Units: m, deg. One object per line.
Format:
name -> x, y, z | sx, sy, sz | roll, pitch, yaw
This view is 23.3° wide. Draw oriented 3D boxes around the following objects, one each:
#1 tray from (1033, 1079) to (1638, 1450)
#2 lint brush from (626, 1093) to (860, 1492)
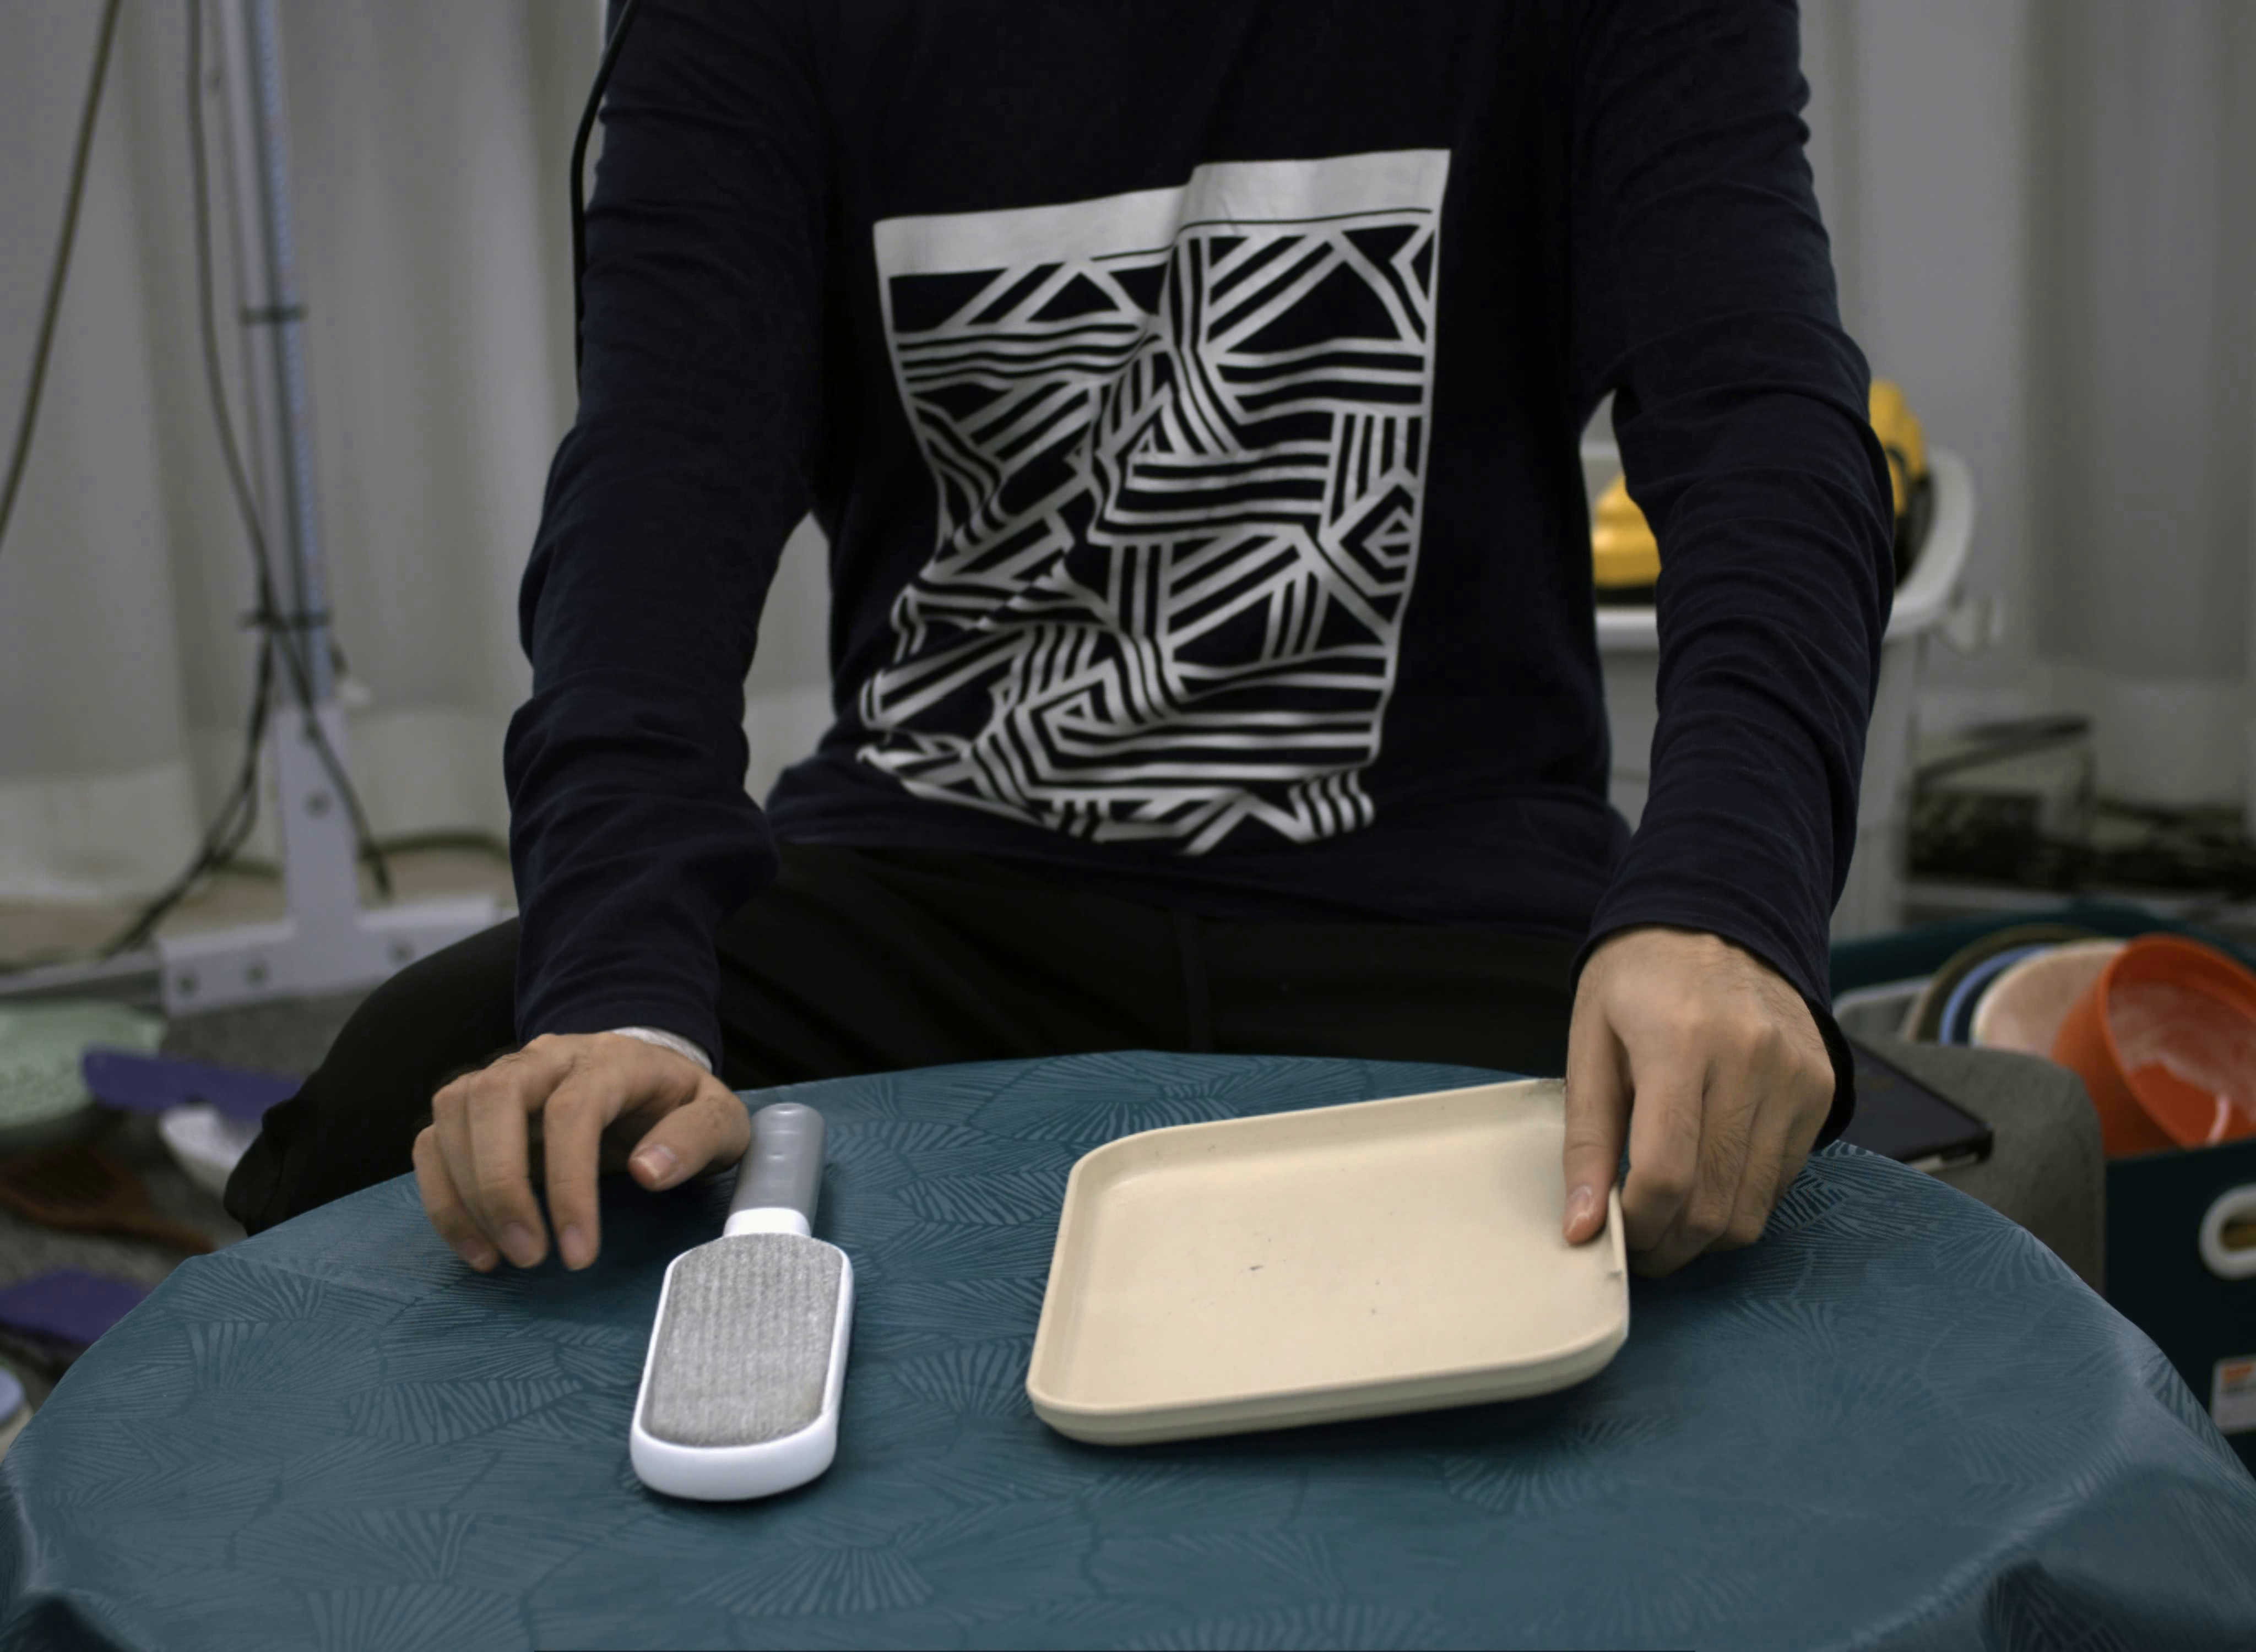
tray -> 0.062, 0.127, 1.597 | 0.171, 0.017, 0.241 | -9, 15, 5
lint brush -> -0.108, 0.133, 1.615 | 0.060, 0.021, 0.311 | -8, 15, 2
